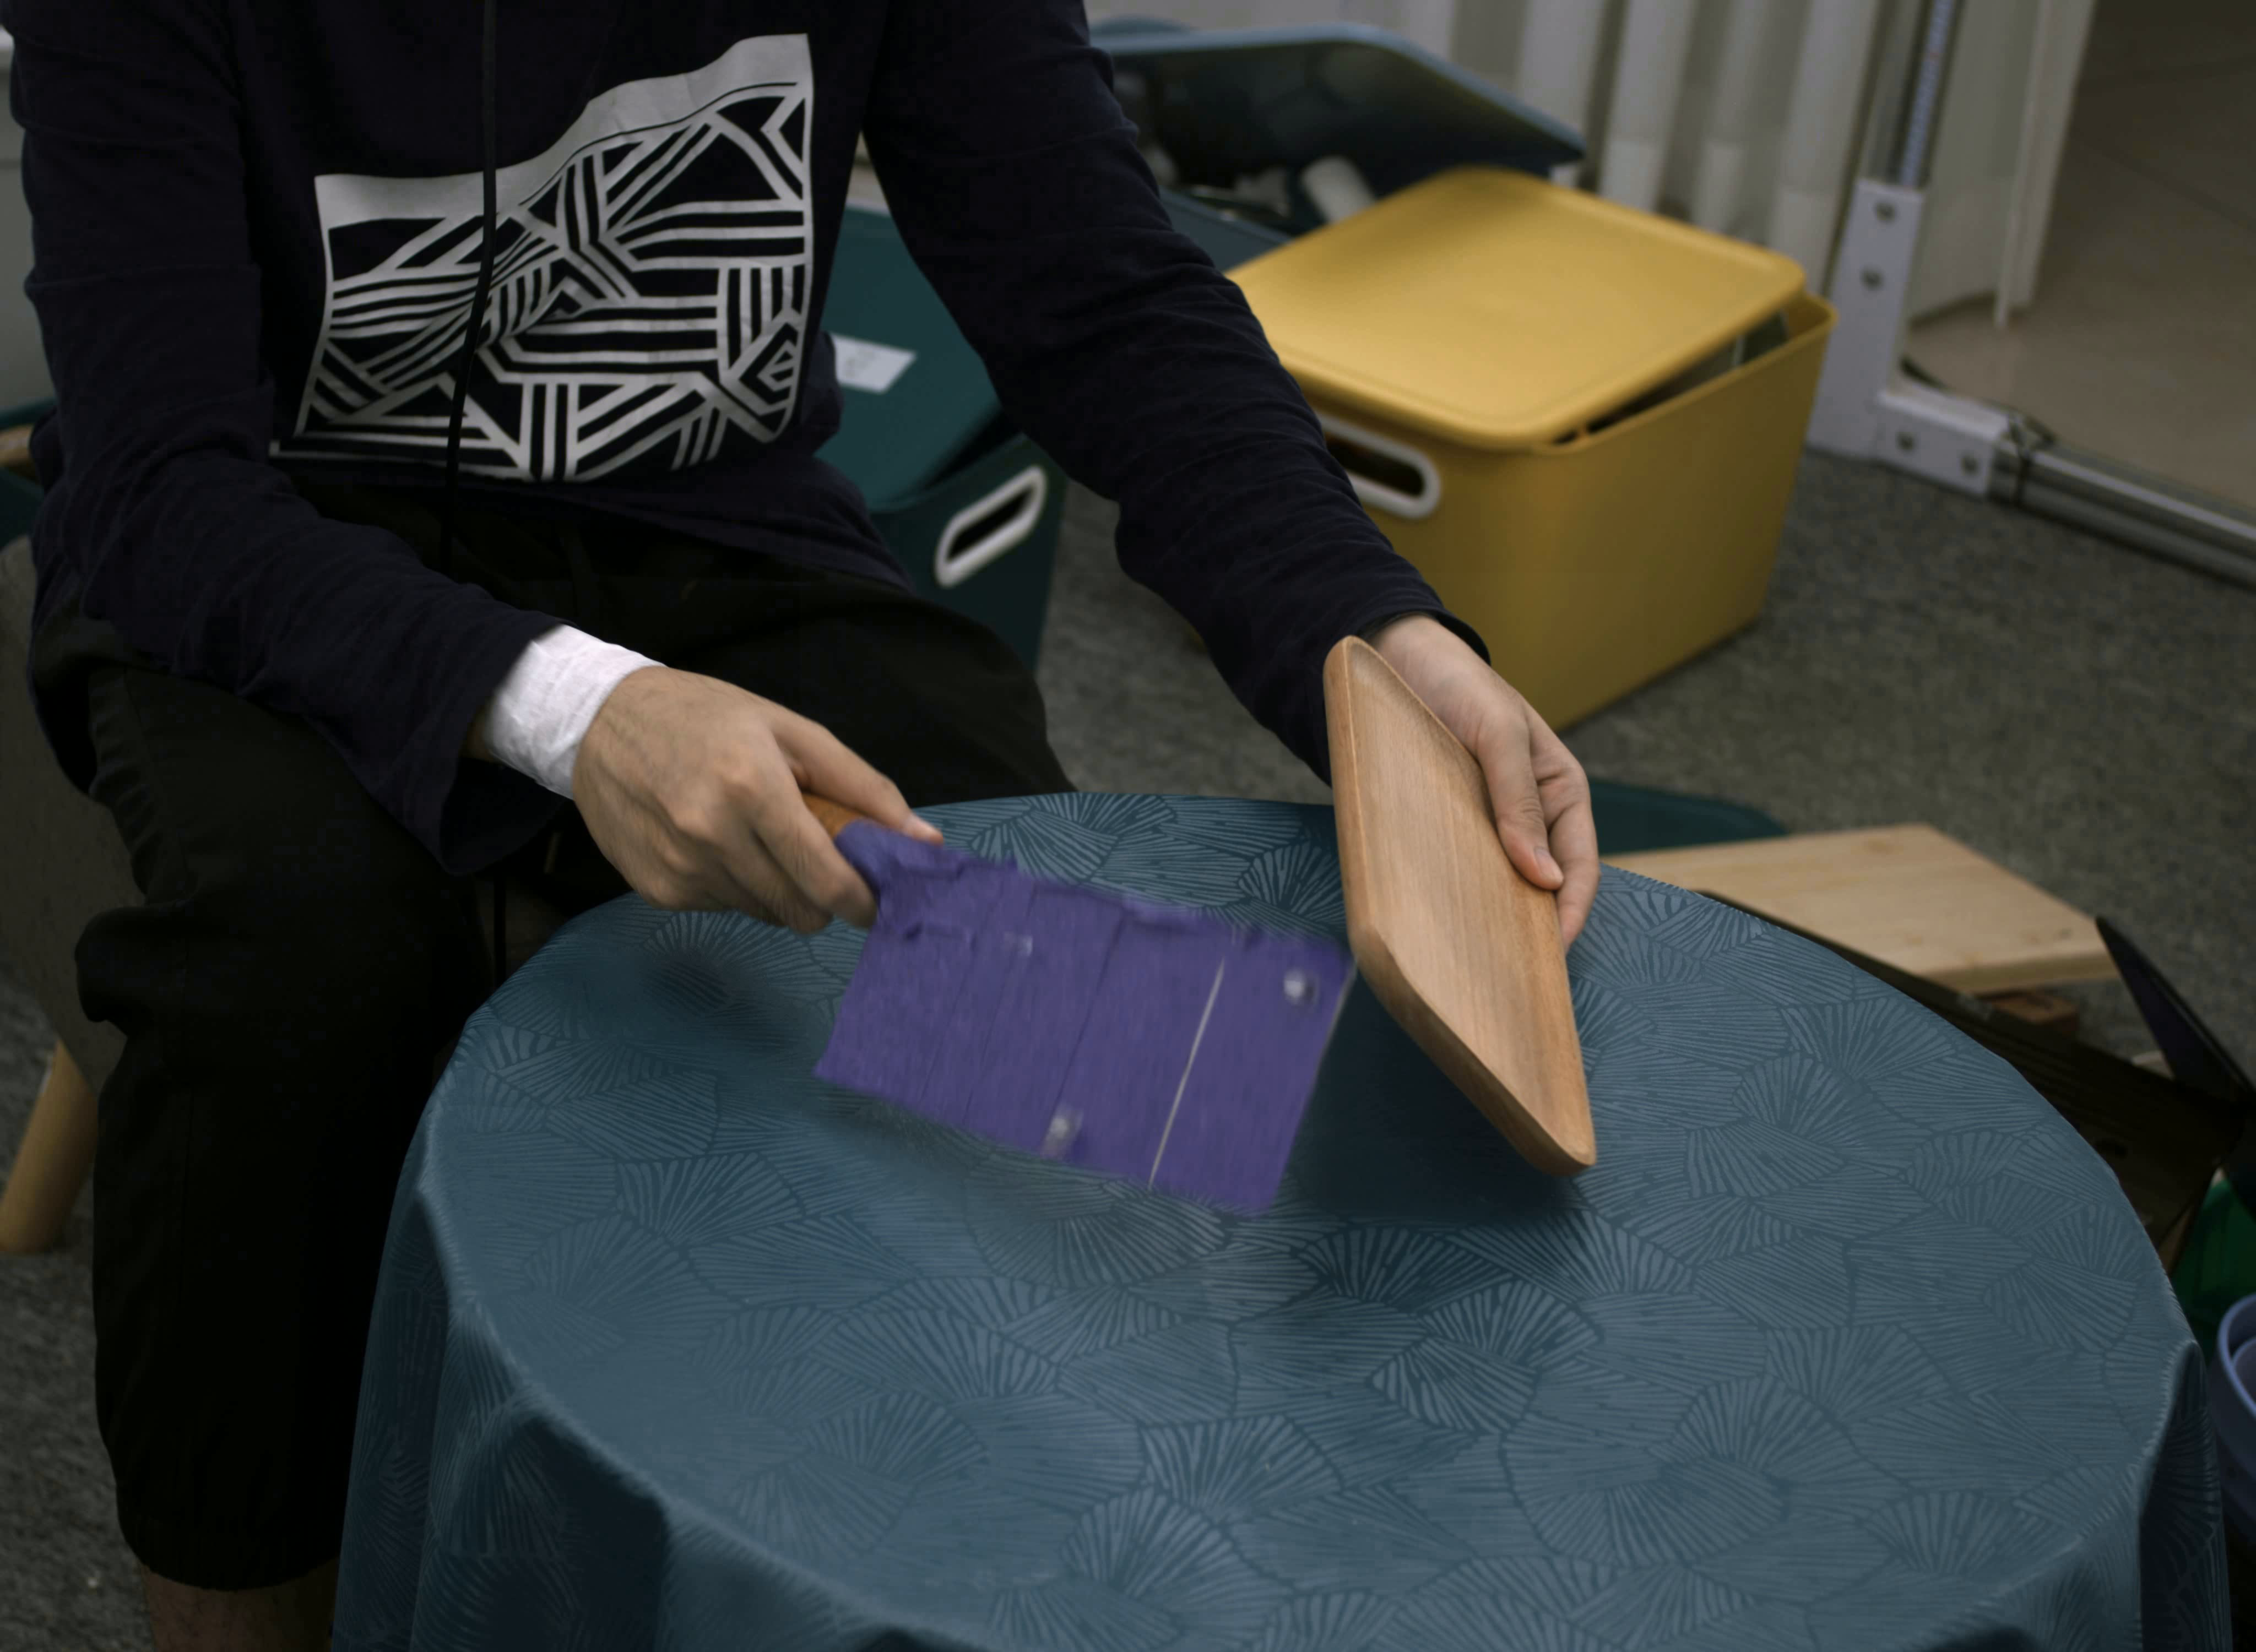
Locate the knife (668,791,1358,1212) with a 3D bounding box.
[{"bbox_3d":[-0.056,0.057,1.796,0.317,0.104,0.032,15,-11,44],"label":"knife"}]

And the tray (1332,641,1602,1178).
[{"bbox_3d":[0.117,0.027,1.889,0.023,0.130,0.252,-34,21,16],"label":"tray"}]
